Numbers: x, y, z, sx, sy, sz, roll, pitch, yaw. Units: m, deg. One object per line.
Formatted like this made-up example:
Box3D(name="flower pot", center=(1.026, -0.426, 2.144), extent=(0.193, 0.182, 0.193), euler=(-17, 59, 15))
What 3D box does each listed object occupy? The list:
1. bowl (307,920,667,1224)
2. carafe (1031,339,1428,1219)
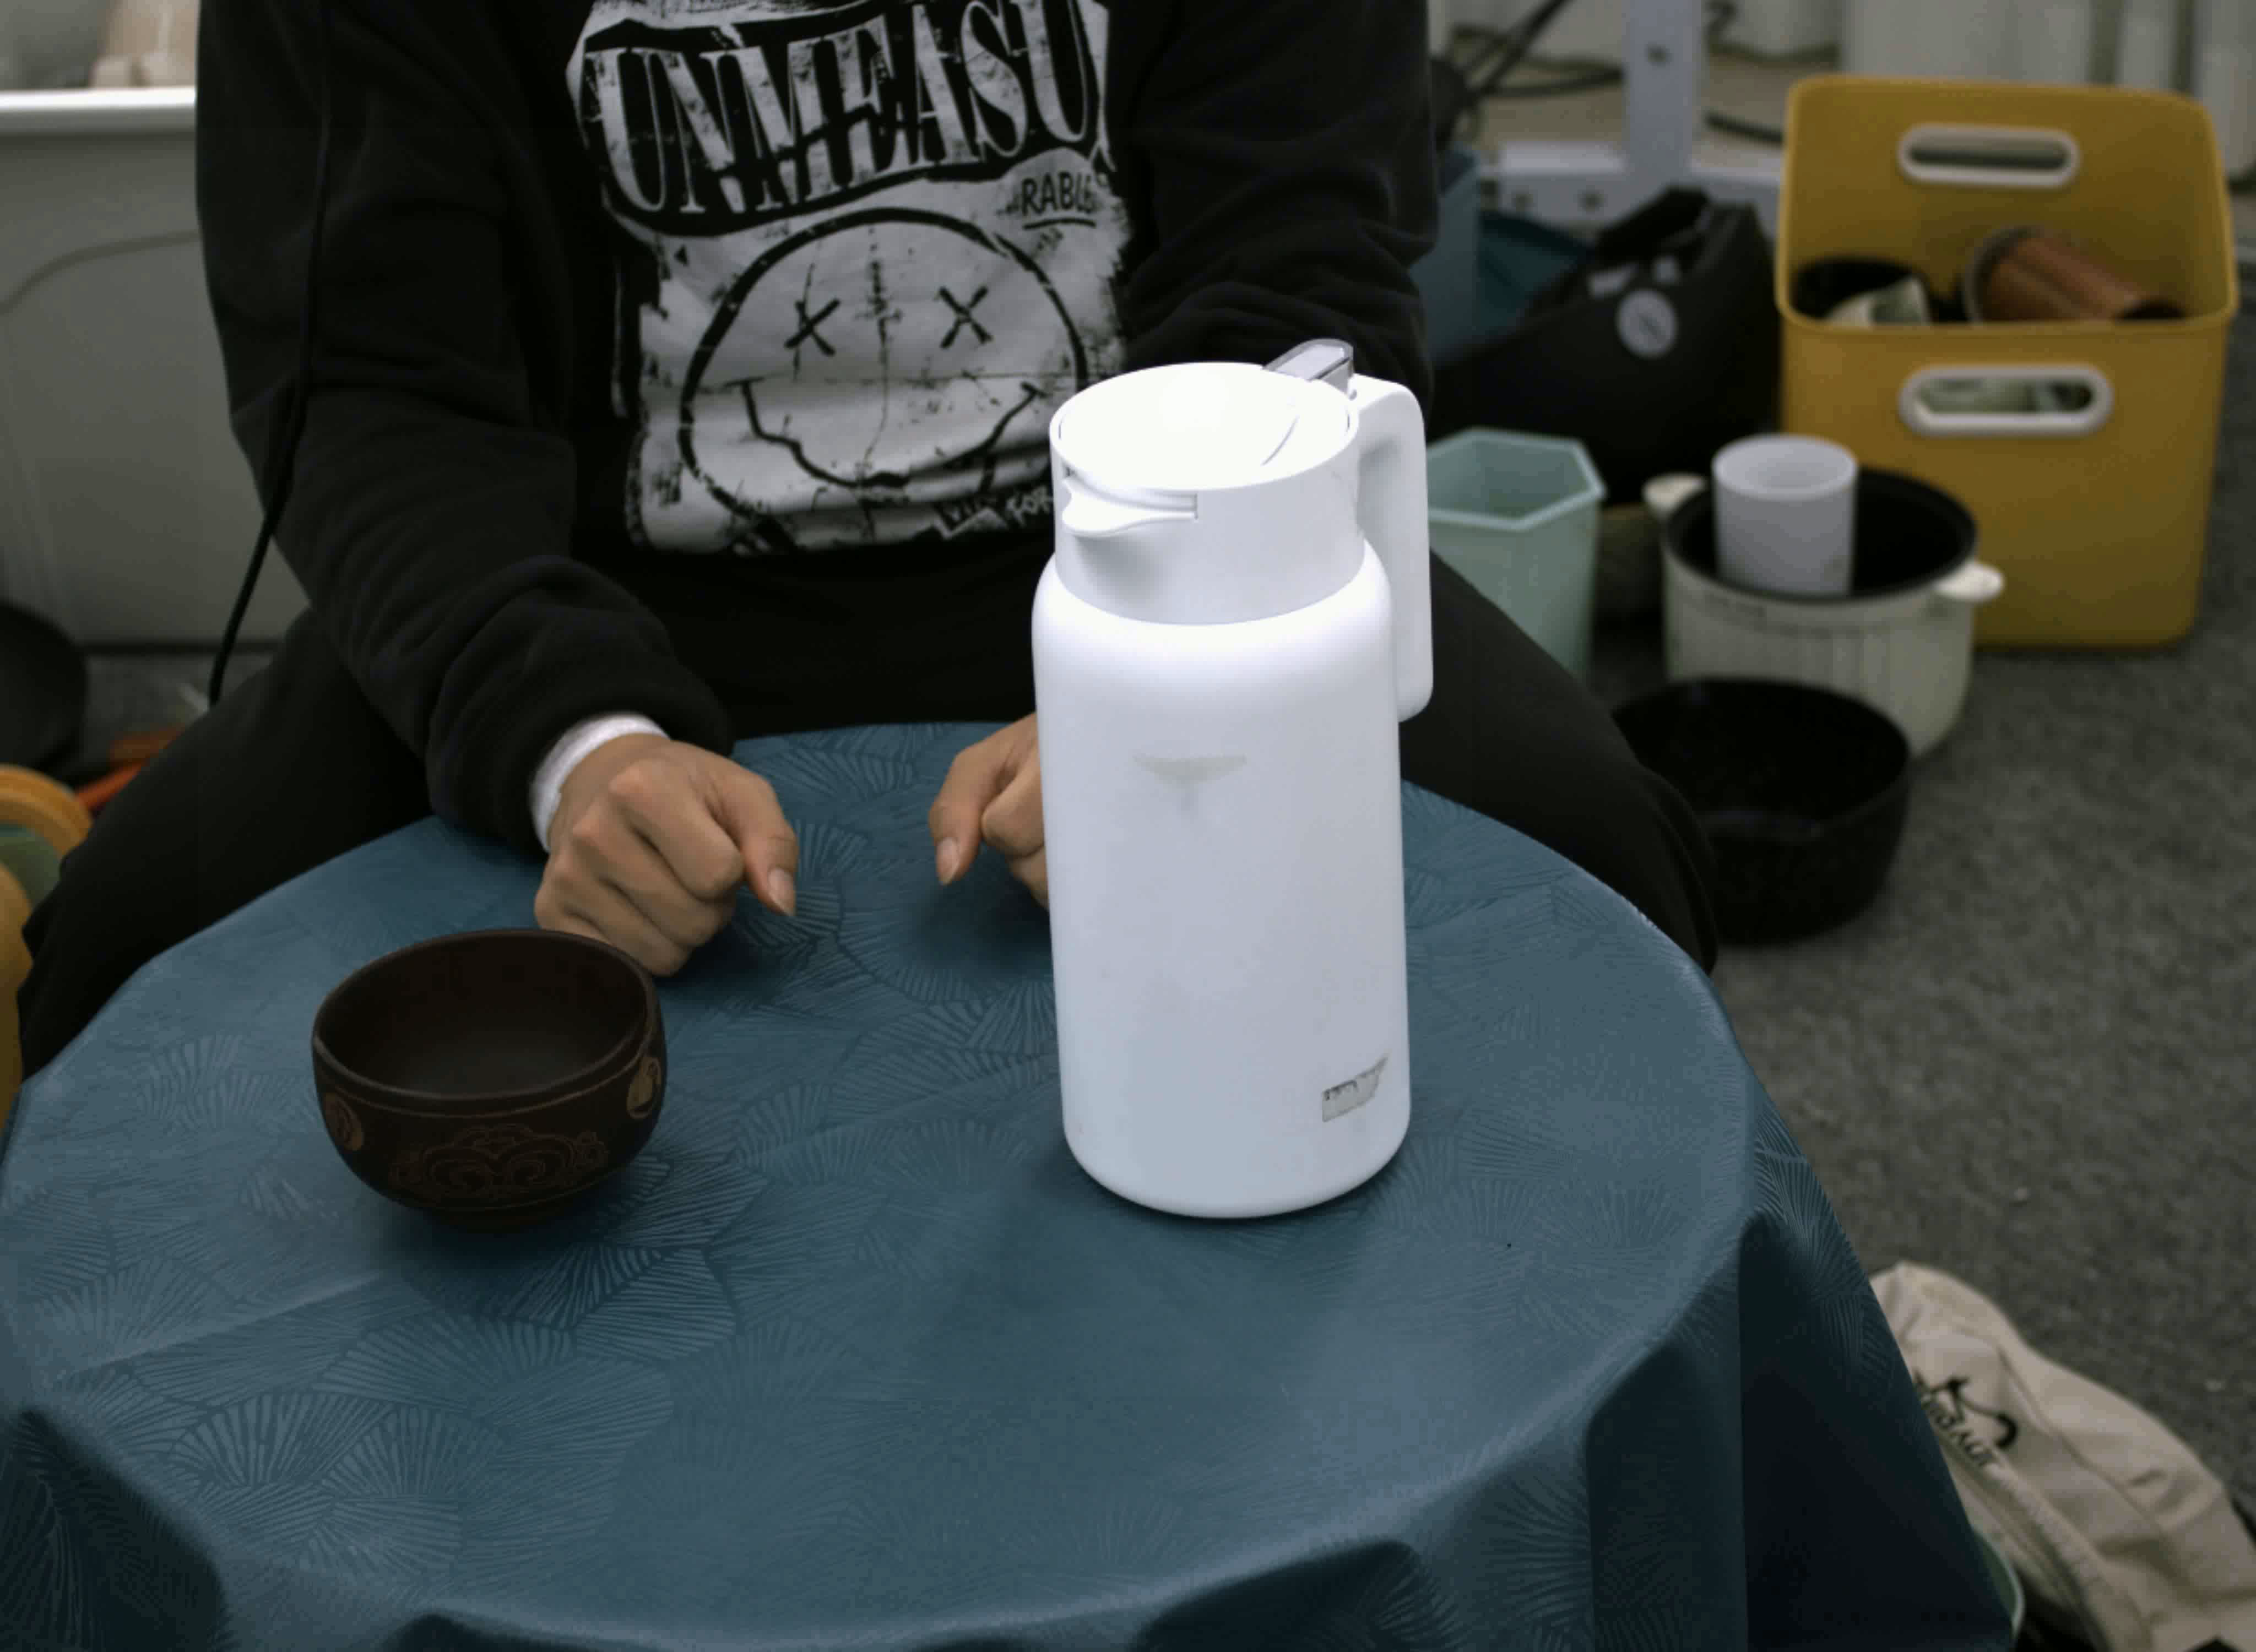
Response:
Box3D(name="bowl", center=(-0.211, 0.089, 1.863), extent=(0.117, 0.069, 0.120), euler=(-2, 27, 1))
Box3D(name="carafe", center=(0.039, -0.020, 1.842), extent=(0.123, 0.266, 0.175), euler=(12, 30, 33))
